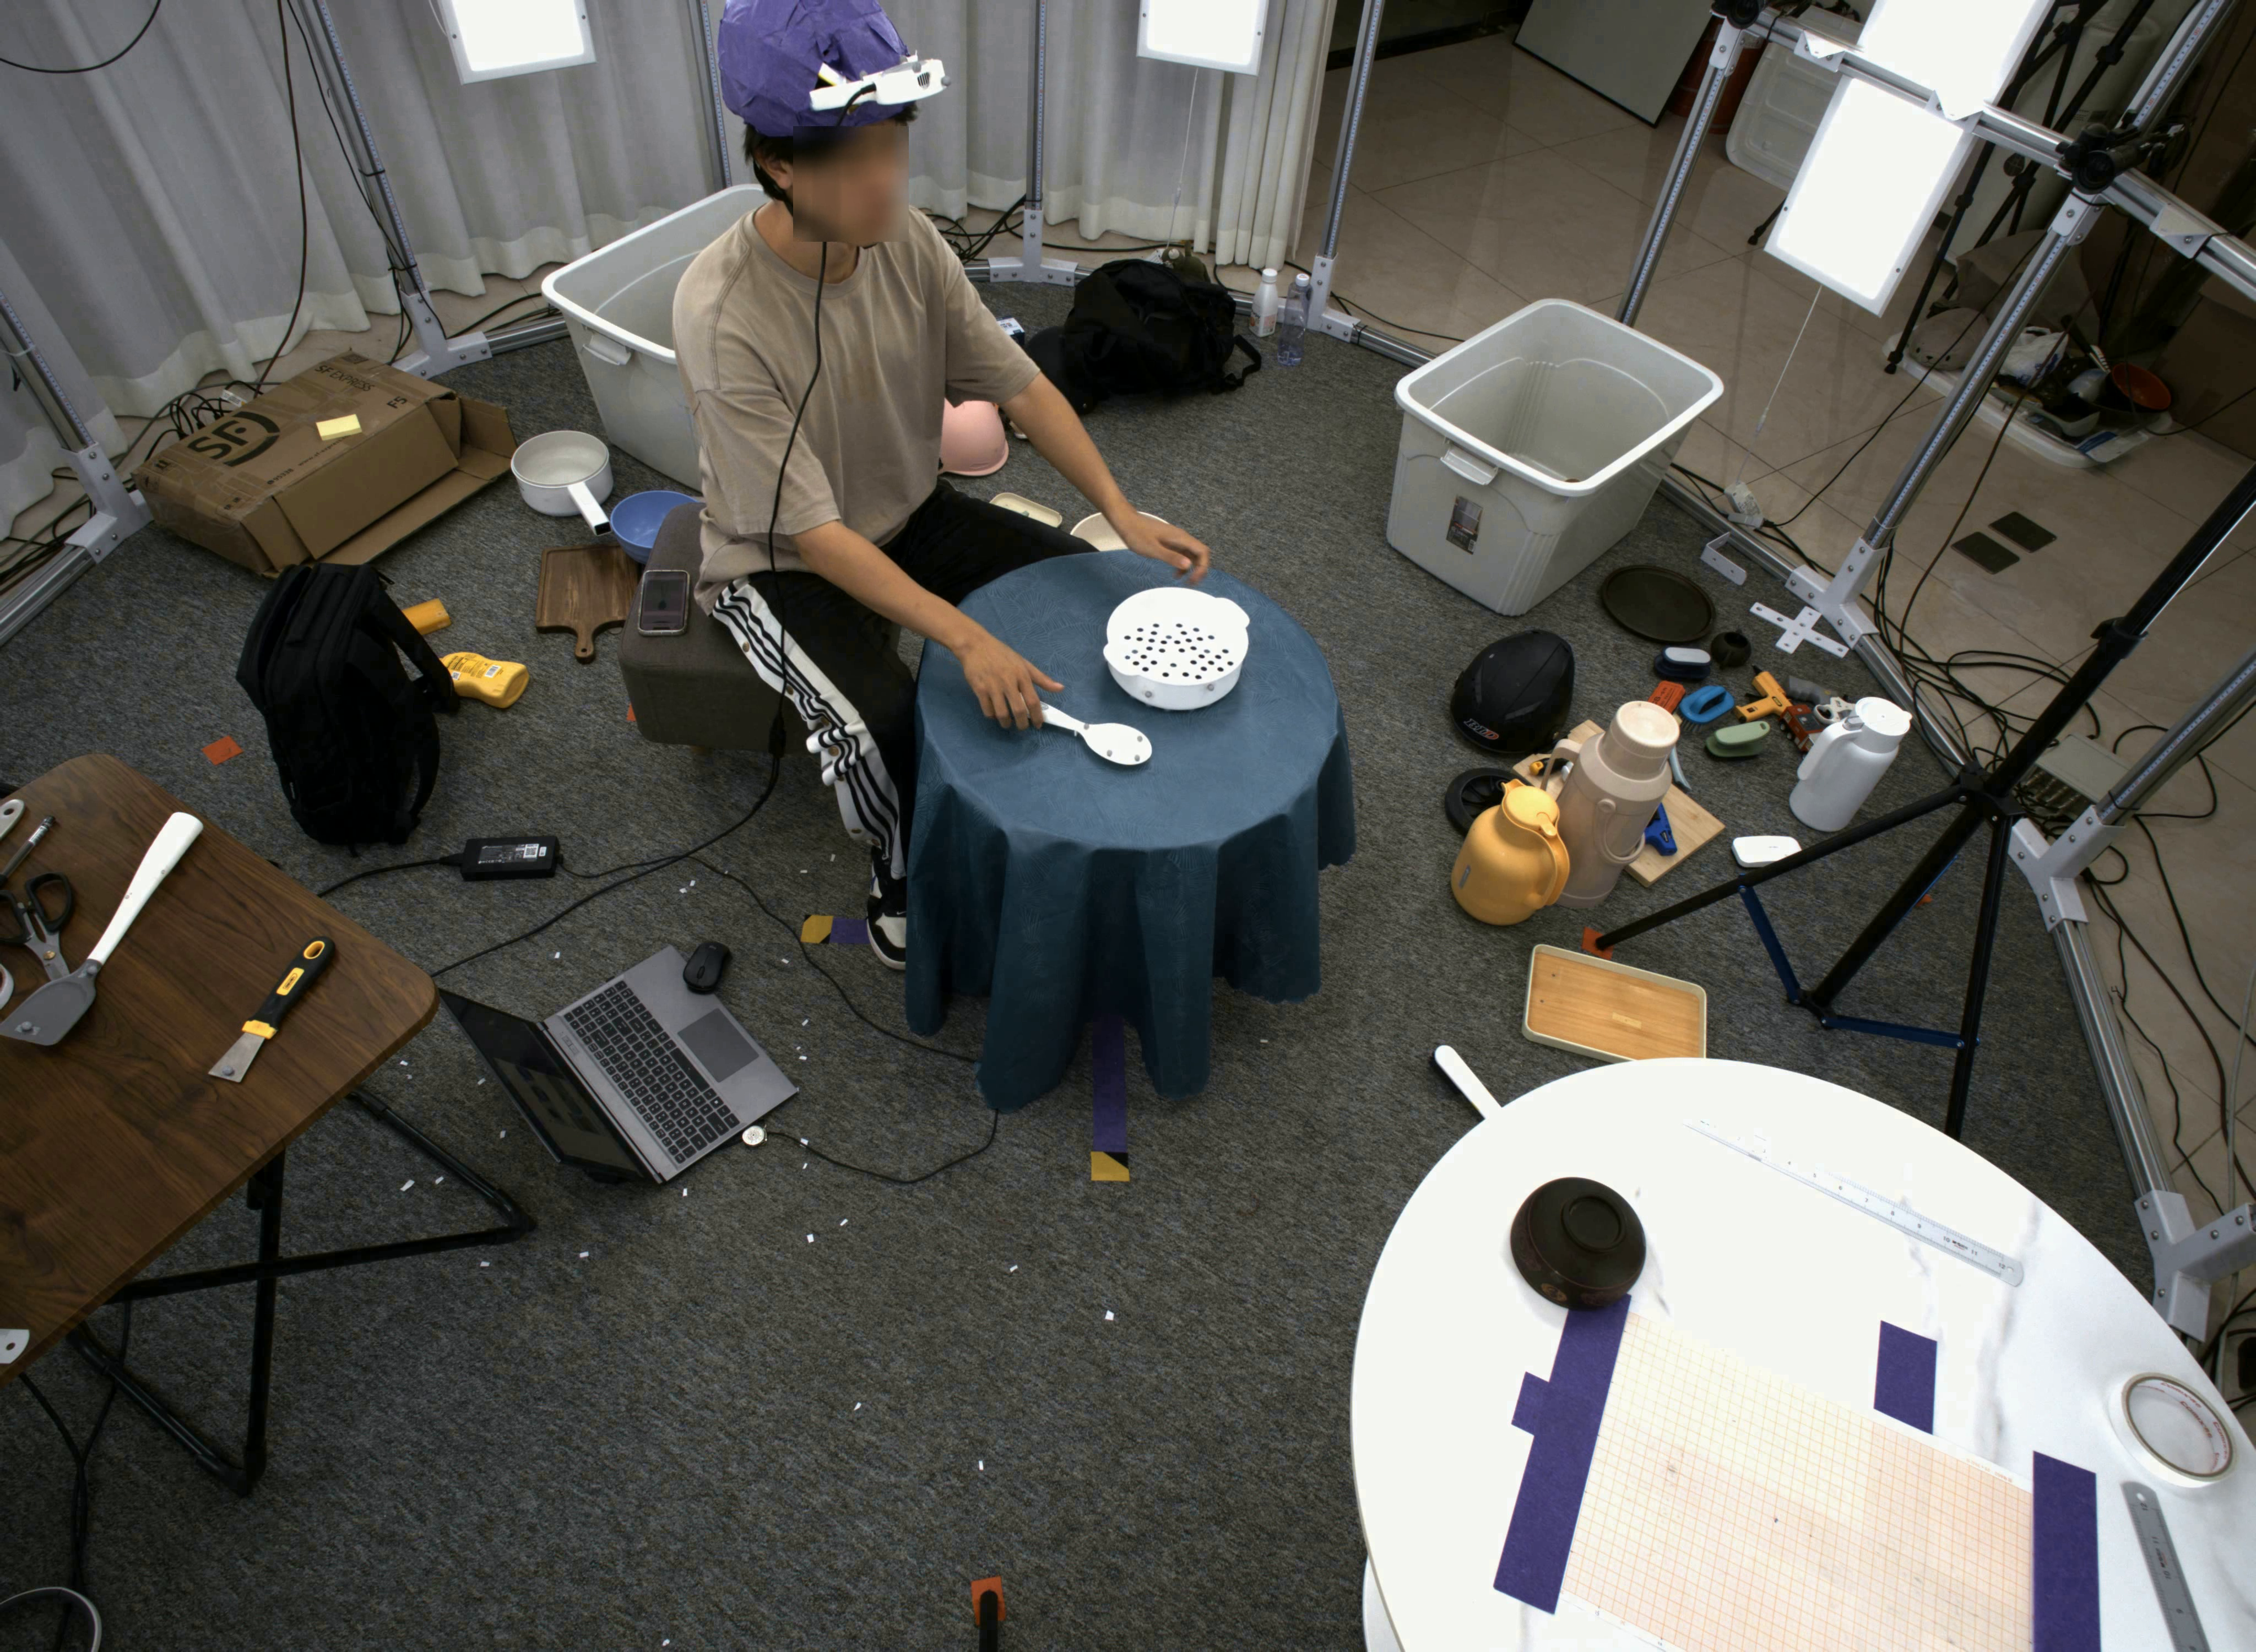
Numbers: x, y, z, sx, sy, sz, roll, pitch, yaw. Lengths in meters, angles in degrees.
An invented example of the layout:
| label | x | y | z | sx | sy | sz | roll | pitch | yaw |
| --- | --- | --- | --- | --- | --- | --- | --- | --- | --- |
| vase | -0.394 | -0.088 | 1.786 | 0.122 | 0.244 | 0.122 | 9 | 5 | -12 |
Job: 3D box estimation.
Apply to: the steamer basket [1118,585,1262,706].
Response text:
| label | x | y | z | sx | sy | sz | roll | pitch | yaw |
| --- | --- | --- | --- | --- | --- | --- | --- | --- | --- |
| steamer basket | 0.087 | -0.258 | 1.846 | 0.231 | 0.067 | 0.206 | -24 | 55 | -27 |

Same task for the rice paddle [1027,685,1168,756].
| label | x | y | z | sx | sy | sz | roll | pitch | yaw |
| --- | --- | --- | --- | --- | --- | --- | --- | --- | --- |
| rice paddle | -0.040 | -0.146 | 1.755 | 0.206 | 0.029 | 0.070 | 22 | 52 | 14 |
